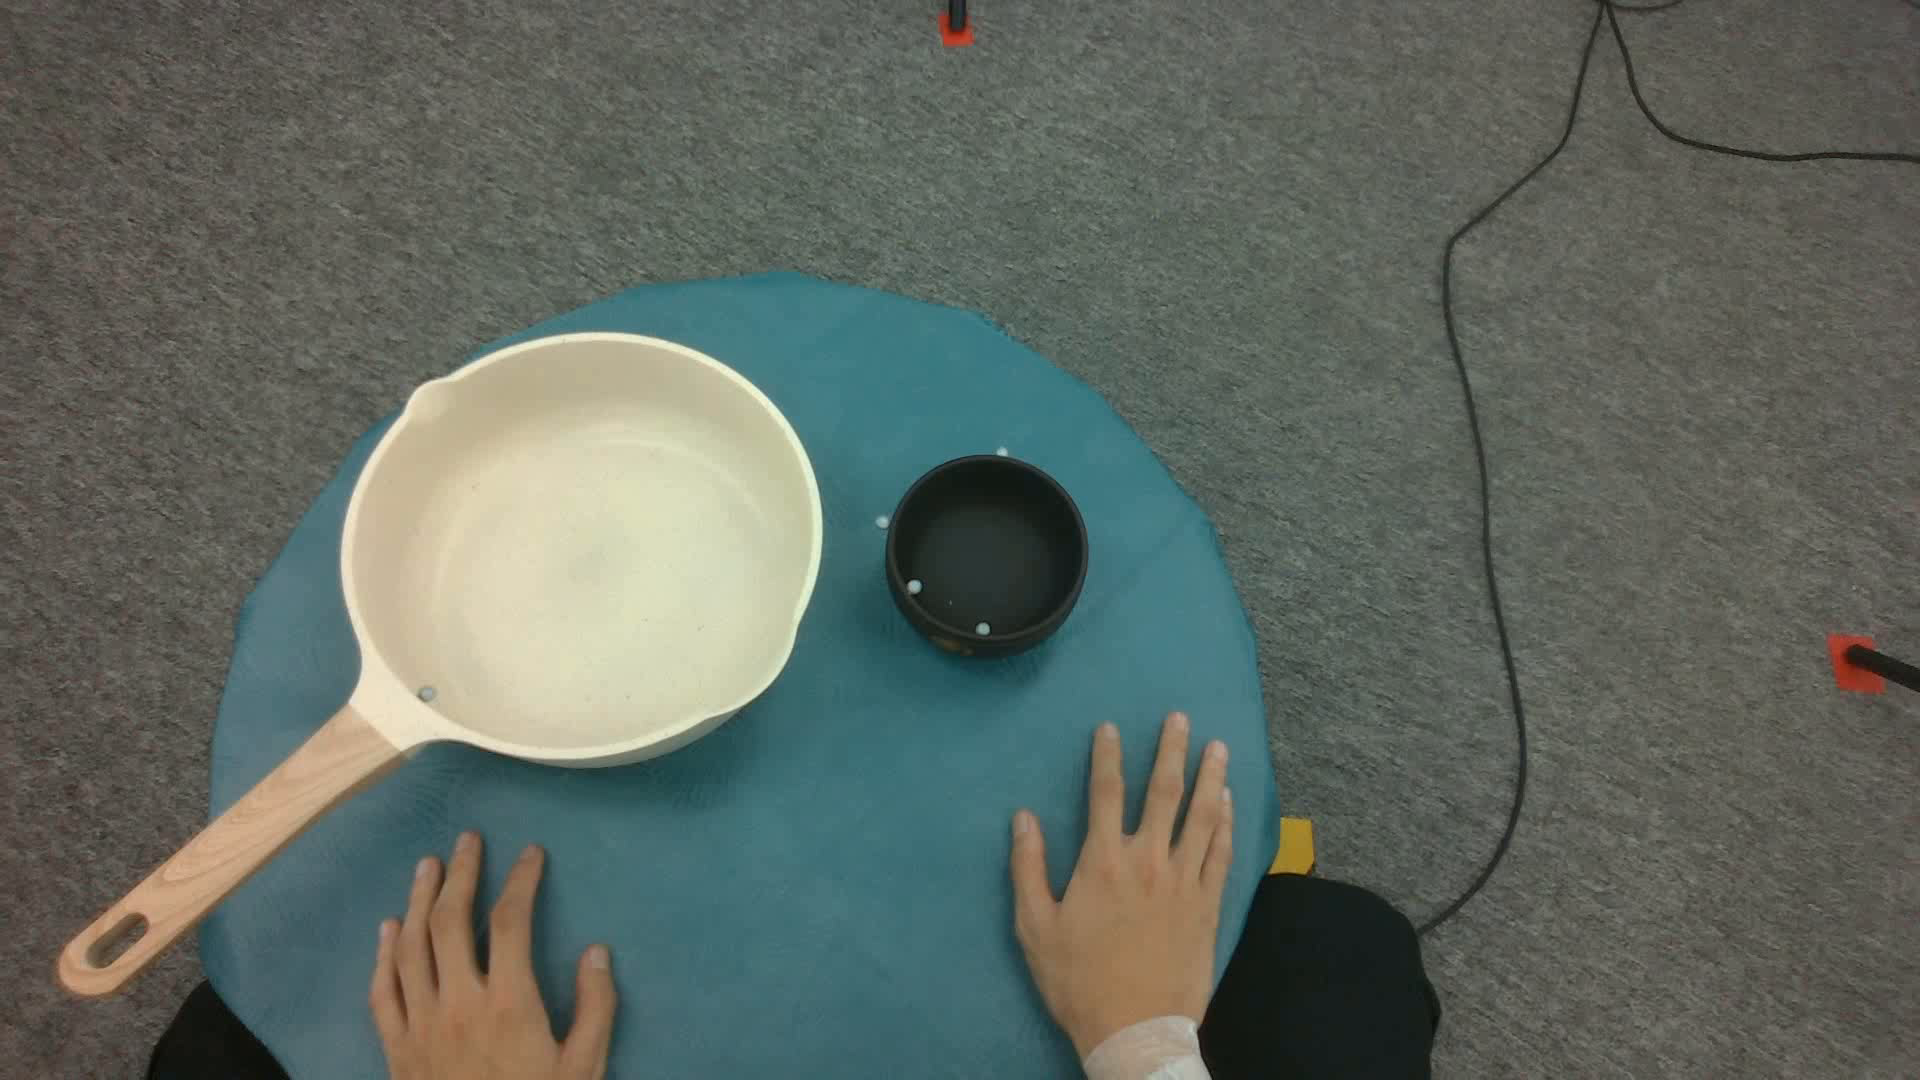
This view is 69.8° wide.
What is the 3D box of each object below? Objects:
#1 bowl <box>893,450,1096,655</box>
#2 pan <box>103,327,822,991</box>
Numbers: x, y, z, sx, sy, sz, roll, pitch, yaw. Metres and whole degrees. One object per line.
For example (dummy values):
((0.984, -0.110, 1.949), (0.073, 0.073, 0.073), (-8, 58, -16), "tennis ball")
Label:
((0.018, 0.013, 0.816), (0.118, 0.069, 0.118), (2, 67, -5), "bowl")
((-0.263, 0.068, 0.758), (0.263, 0.101, 0.436), (39, 70, 10), "pan")
